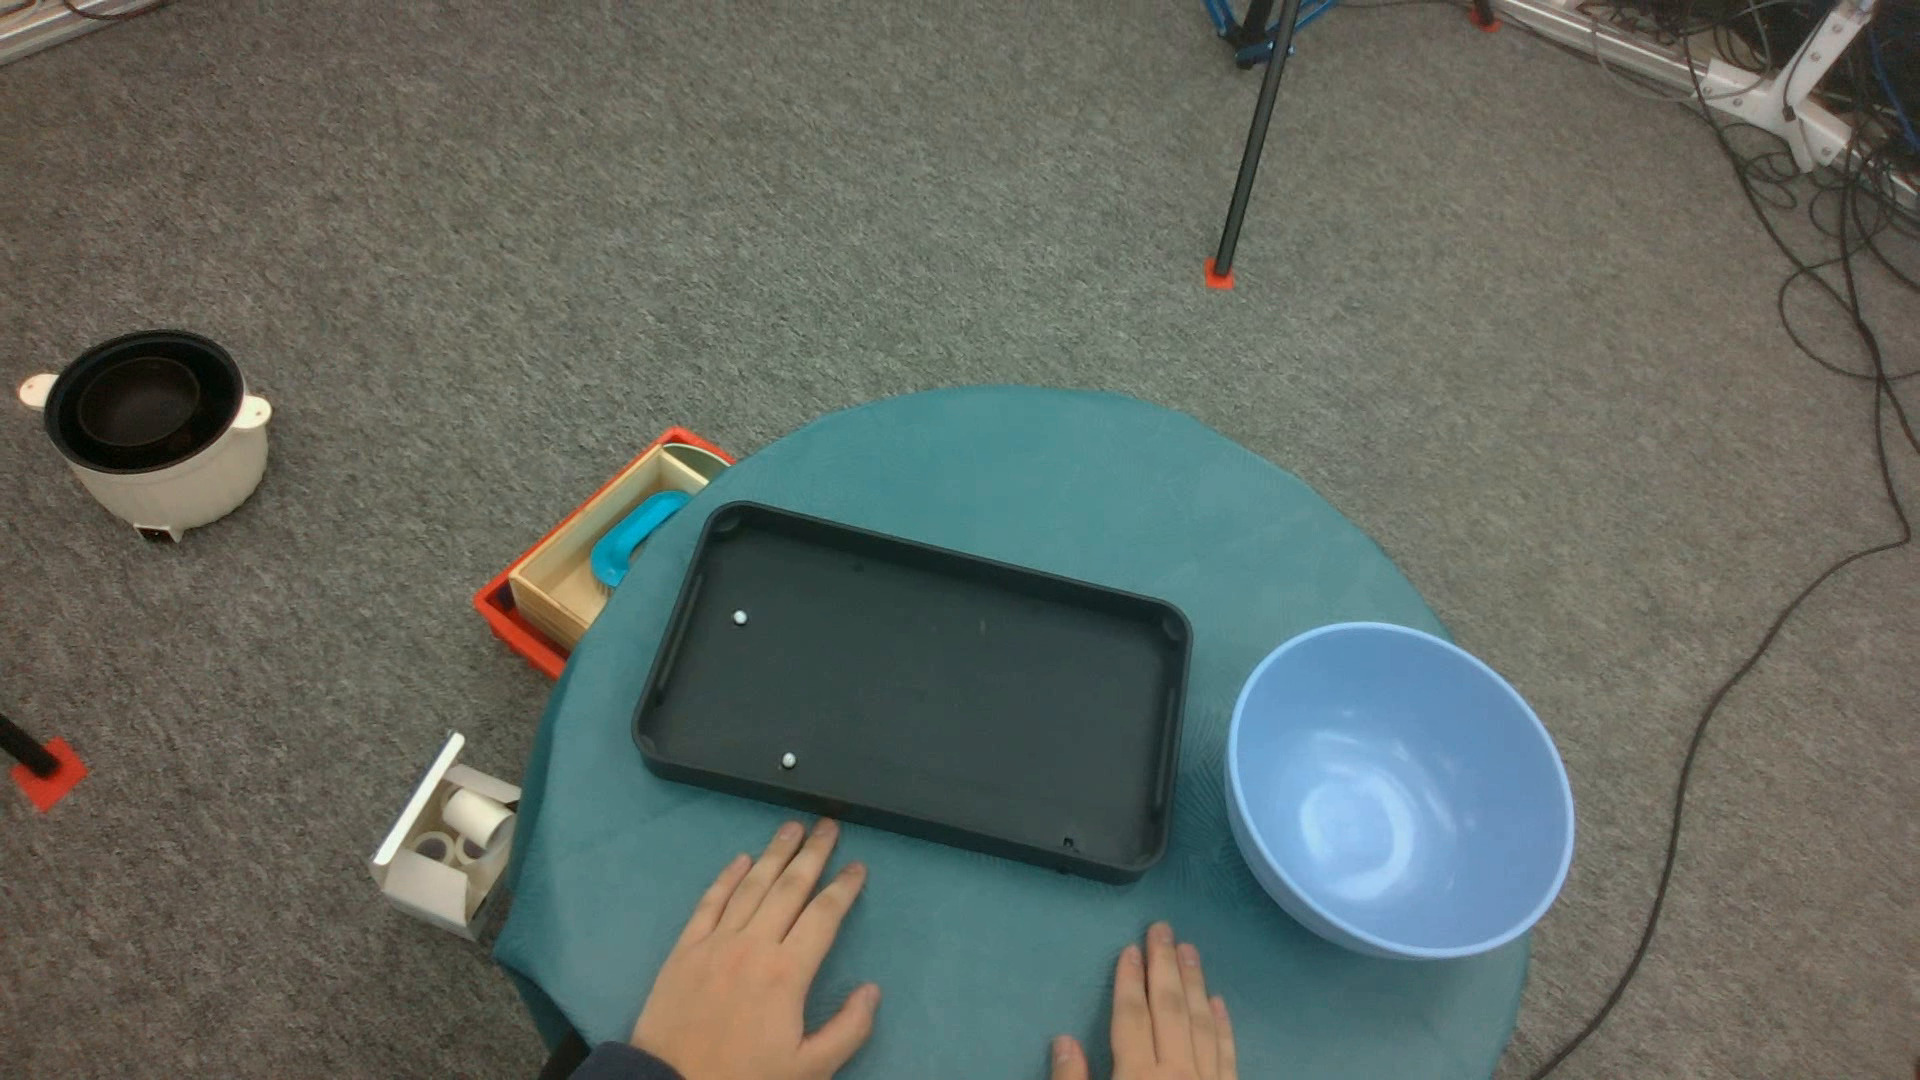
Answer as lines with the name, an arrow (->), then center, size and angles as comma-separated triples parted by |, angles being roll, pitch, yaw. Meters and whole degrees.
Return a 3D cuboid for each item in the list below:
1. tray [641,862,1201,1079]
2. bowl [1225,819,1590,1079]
tray -> -0.024, 0.287, 0.822 | 0.318, 0.037, 0.185 | -3, 44, -1
bowl -> 0.245, 0.269, 0.791 | 0.196, 0.095, 0.197 | 1, 43, -1
